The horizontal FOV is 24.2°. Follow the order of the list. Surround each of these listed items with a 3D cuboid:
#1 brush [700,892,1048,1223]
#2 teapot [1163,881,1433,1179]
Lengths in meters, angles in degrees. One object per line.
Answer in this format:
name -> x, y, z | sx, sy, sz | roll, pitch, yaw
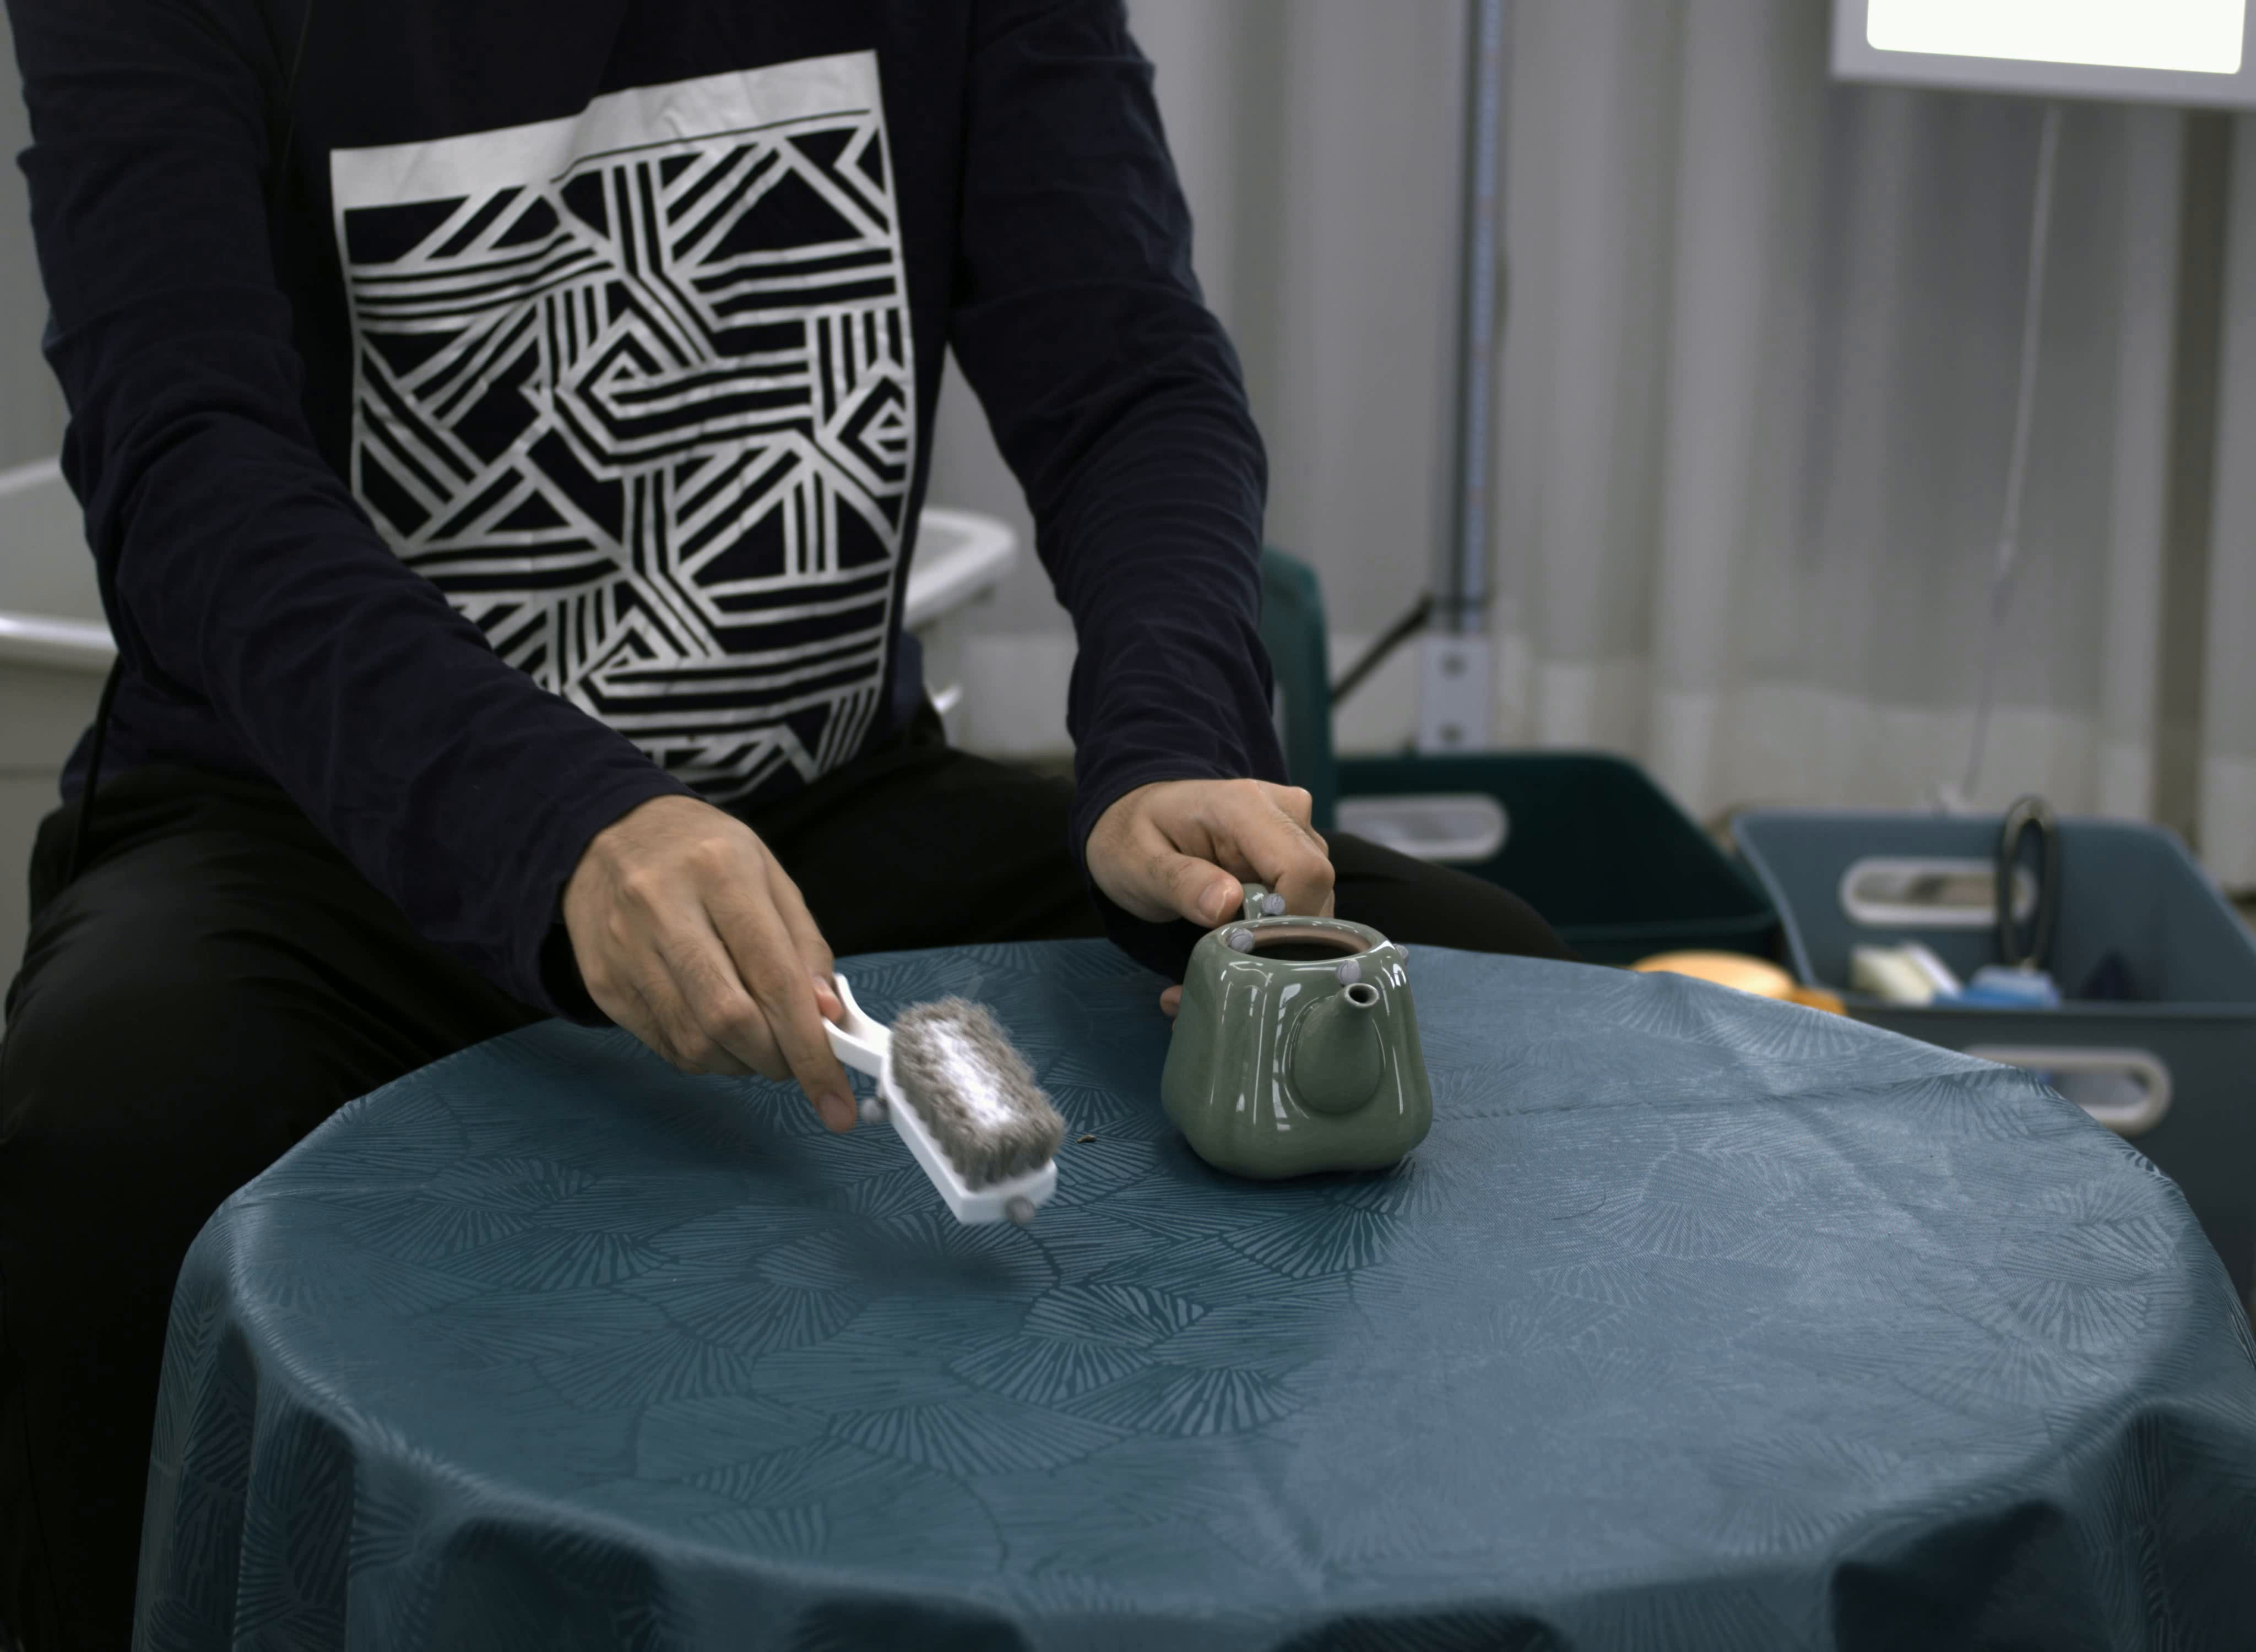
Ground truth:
brush -> -0.085, 0.052, 1.618 | 0.034, 0.051, 0.240 | -20, 30, -18
teapot -> 0.054, 0.067, 1.655 | 0.080, 0.076, 0.131 | -4, 16, -17
